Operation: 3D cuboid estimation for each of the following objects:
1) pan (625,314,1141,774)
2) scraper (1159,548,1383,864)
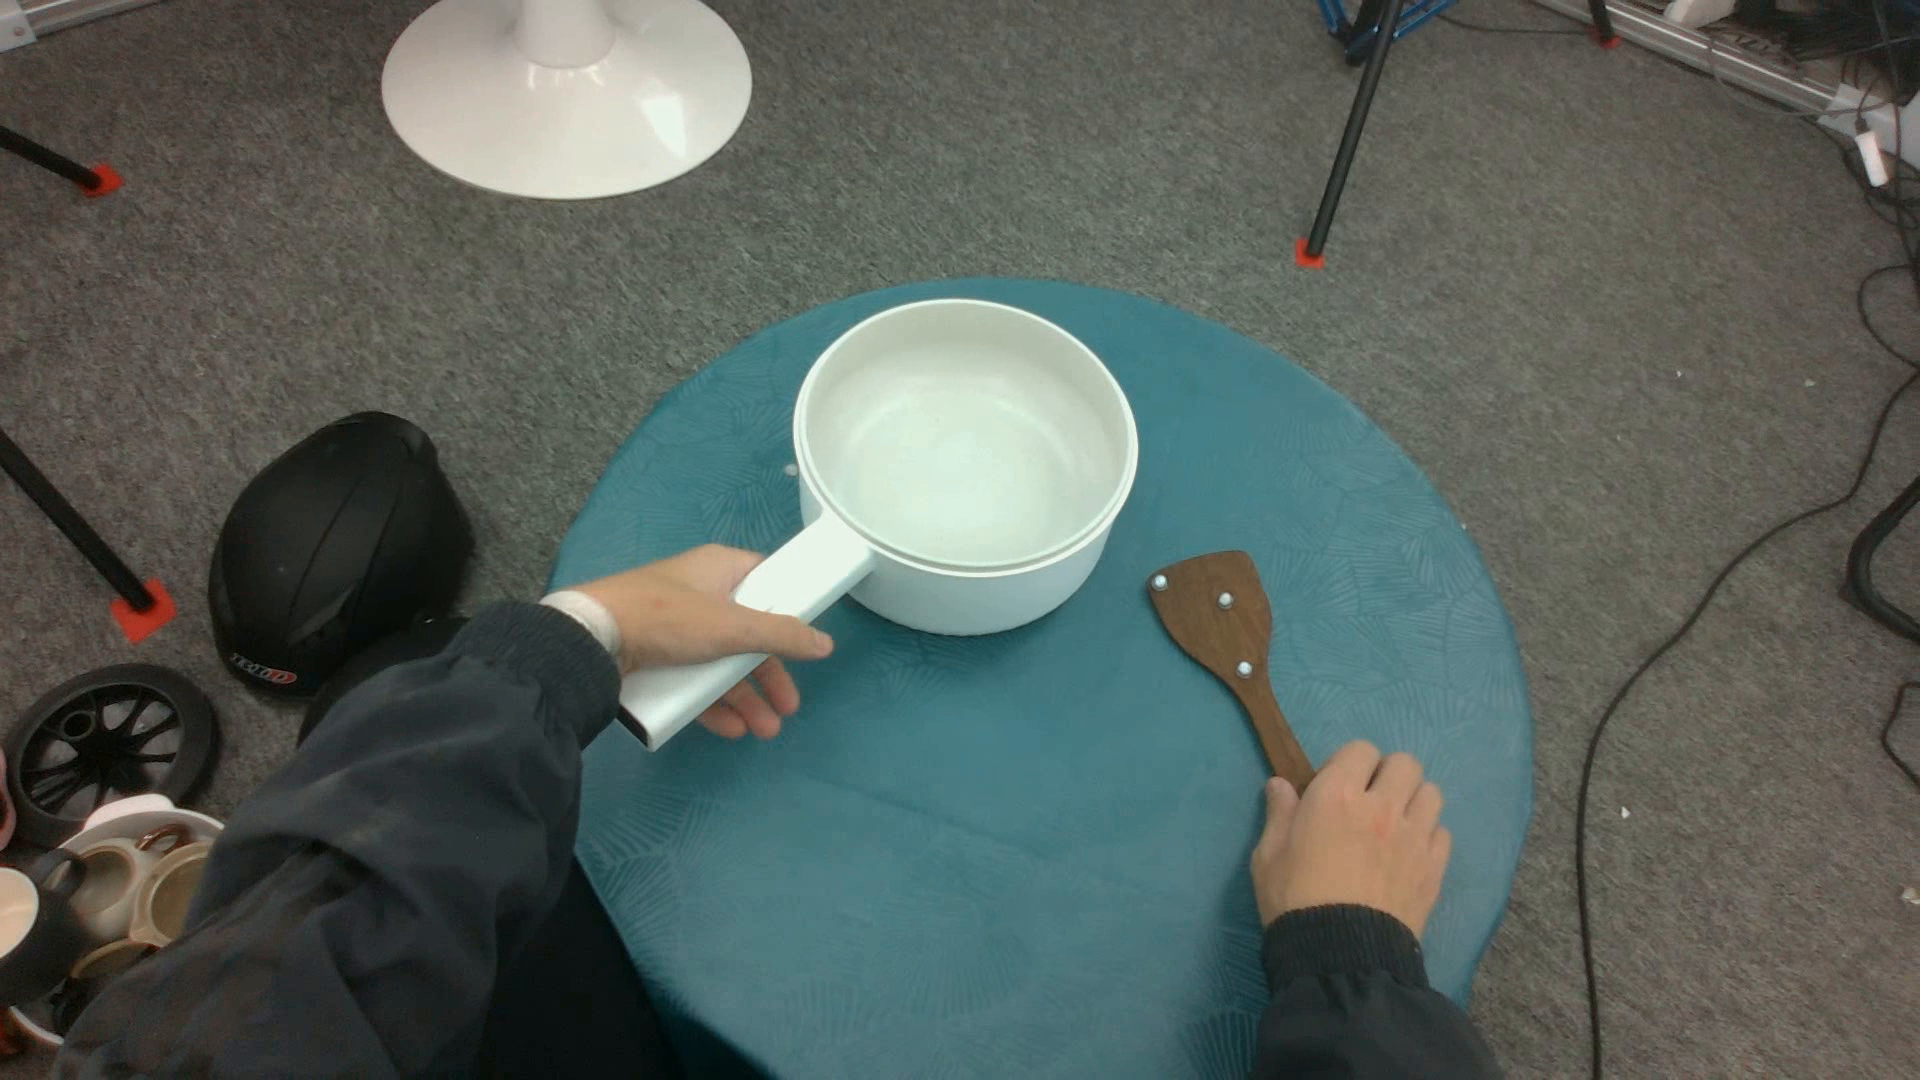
[{"bbox_3d":[-0.045,0.015,0.814,0.201,0.101,0.356,37,62,18],"label":"pan"},{"bbox_3d":[0.193,0.097,0.828,0.076,0.011,0.212,-17,58,-11],"label":"scraper"}]
